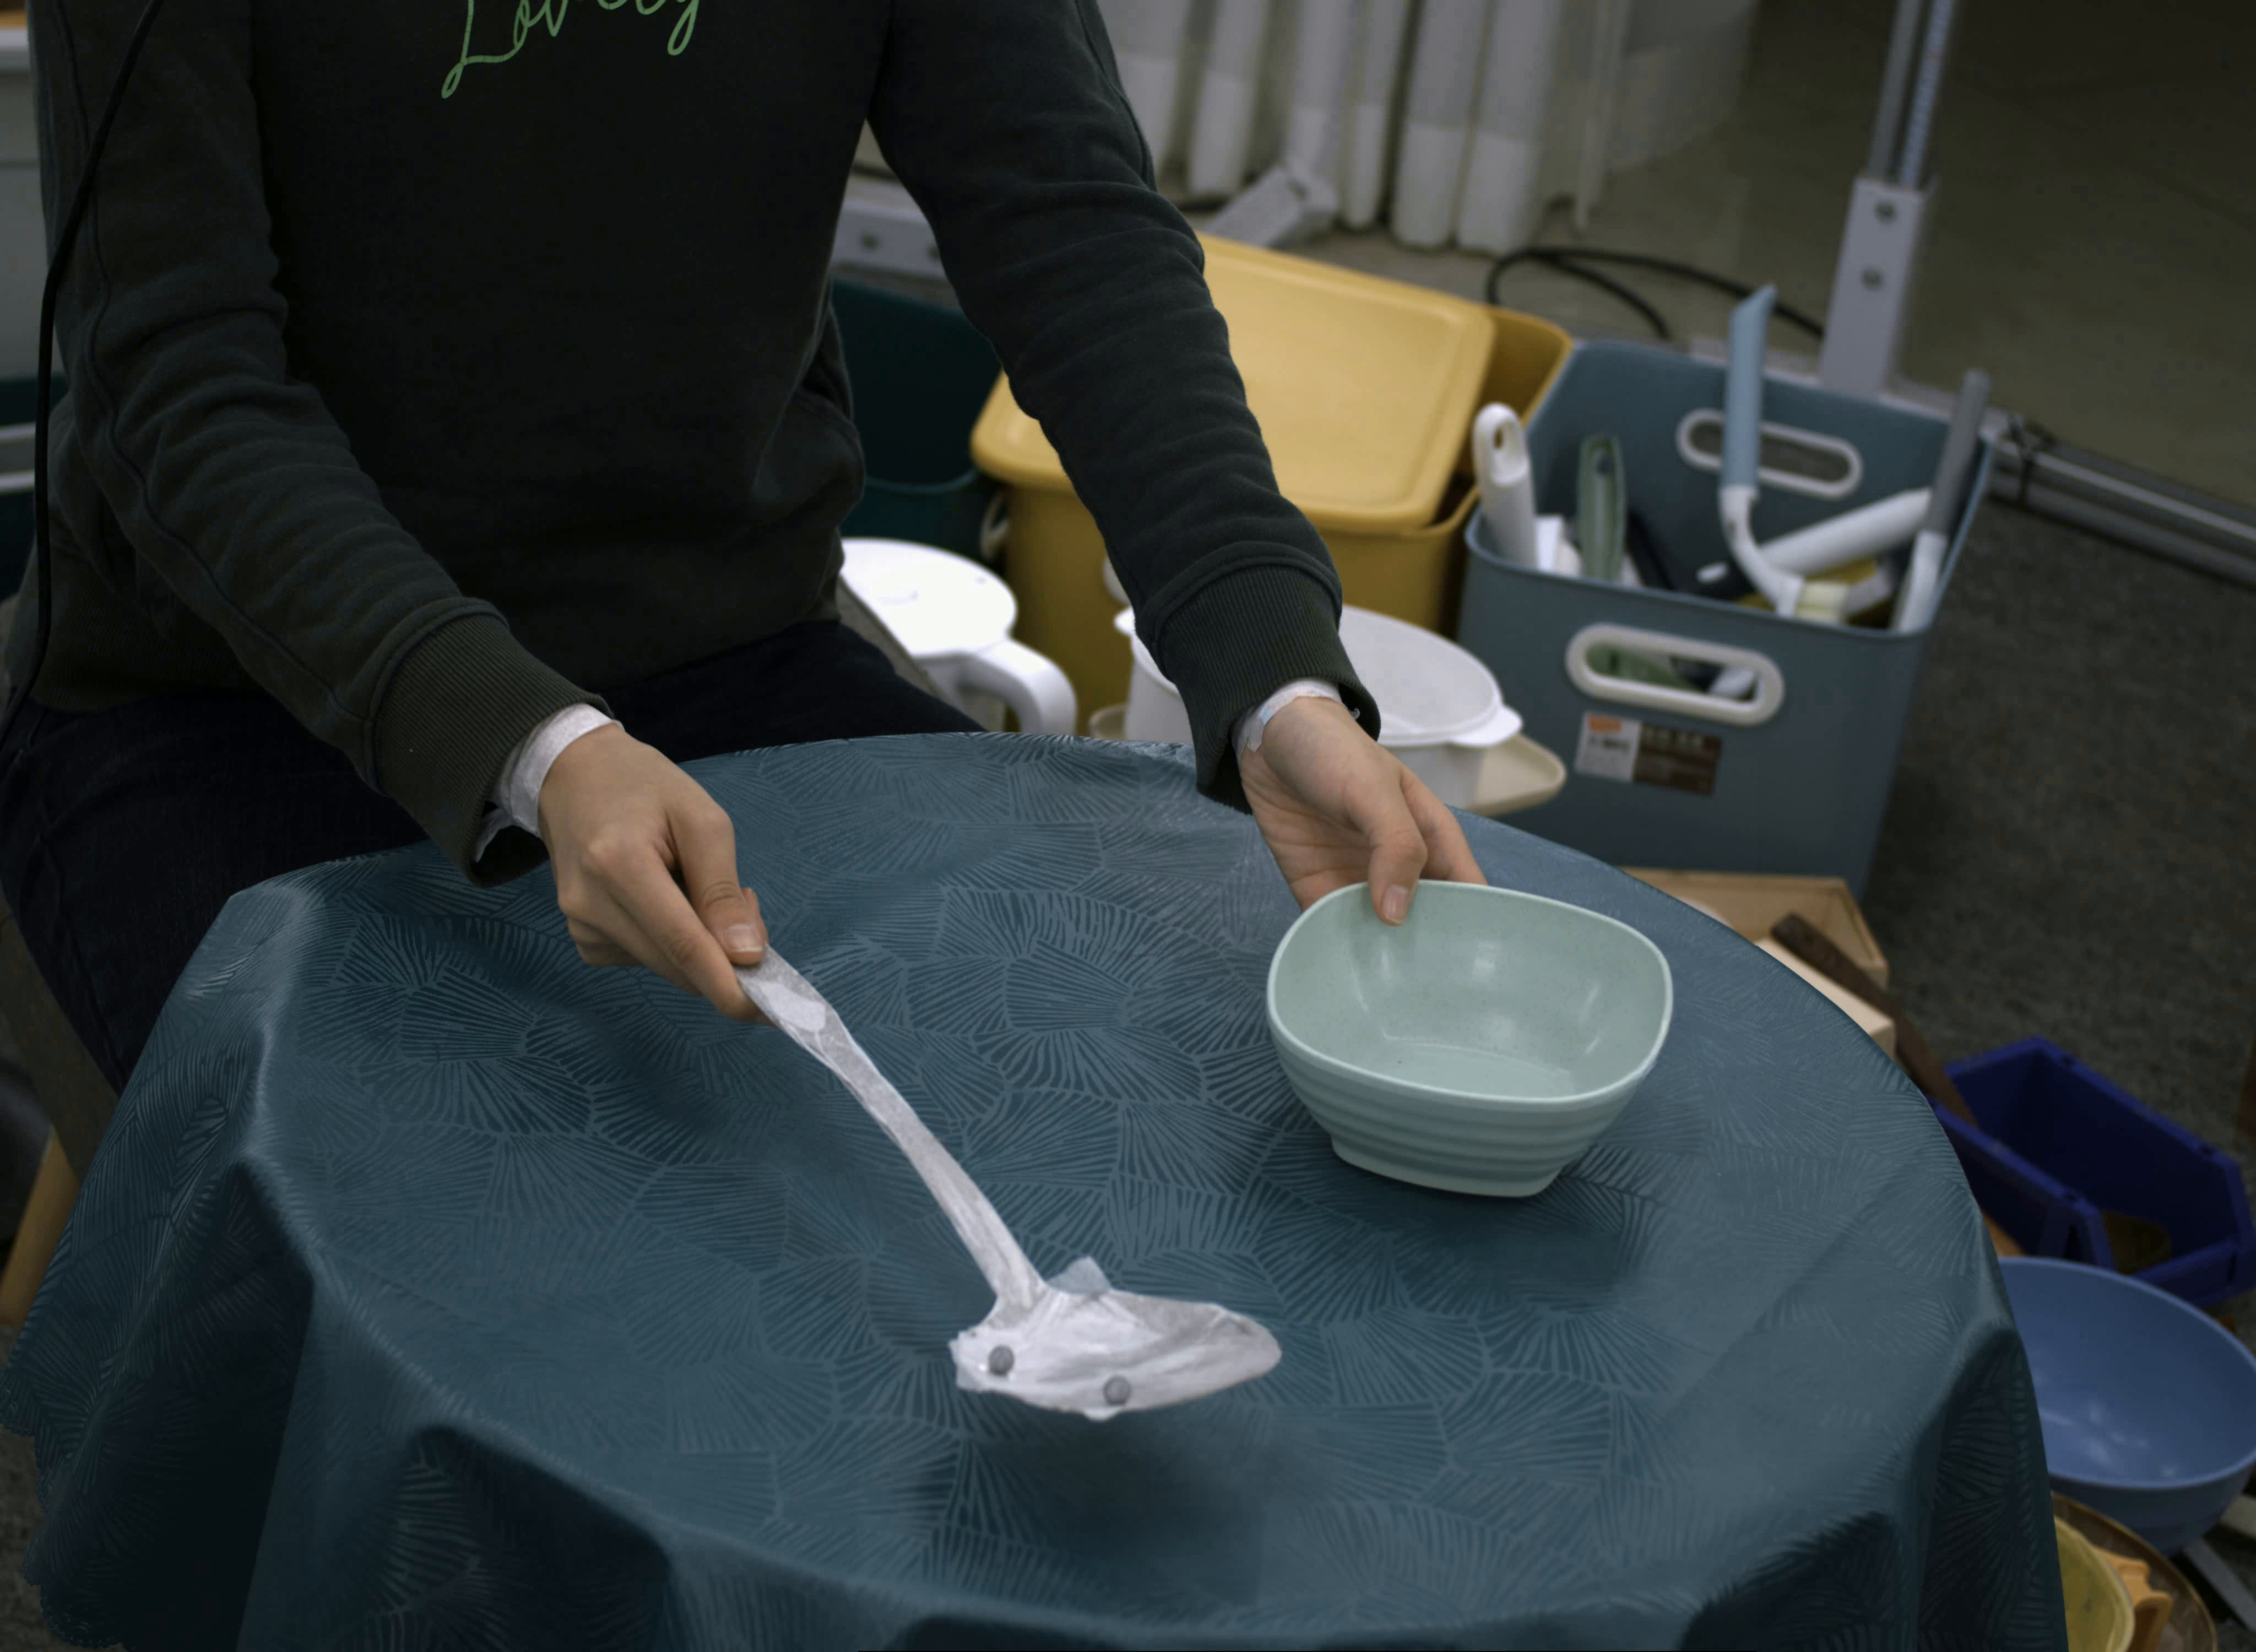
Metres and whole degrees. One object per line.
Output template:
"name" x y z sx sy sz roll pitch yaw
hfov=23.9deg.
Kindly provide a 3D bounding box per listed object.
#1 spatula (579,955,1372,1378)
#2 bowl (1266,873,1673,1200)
"spatula" -0.071 0.103 1.707 0.098 0.045 0.368 -1 25 -44
"bowl" 0.115 0.079 1.841 0.151 0.058 0.152 4 31 -3
